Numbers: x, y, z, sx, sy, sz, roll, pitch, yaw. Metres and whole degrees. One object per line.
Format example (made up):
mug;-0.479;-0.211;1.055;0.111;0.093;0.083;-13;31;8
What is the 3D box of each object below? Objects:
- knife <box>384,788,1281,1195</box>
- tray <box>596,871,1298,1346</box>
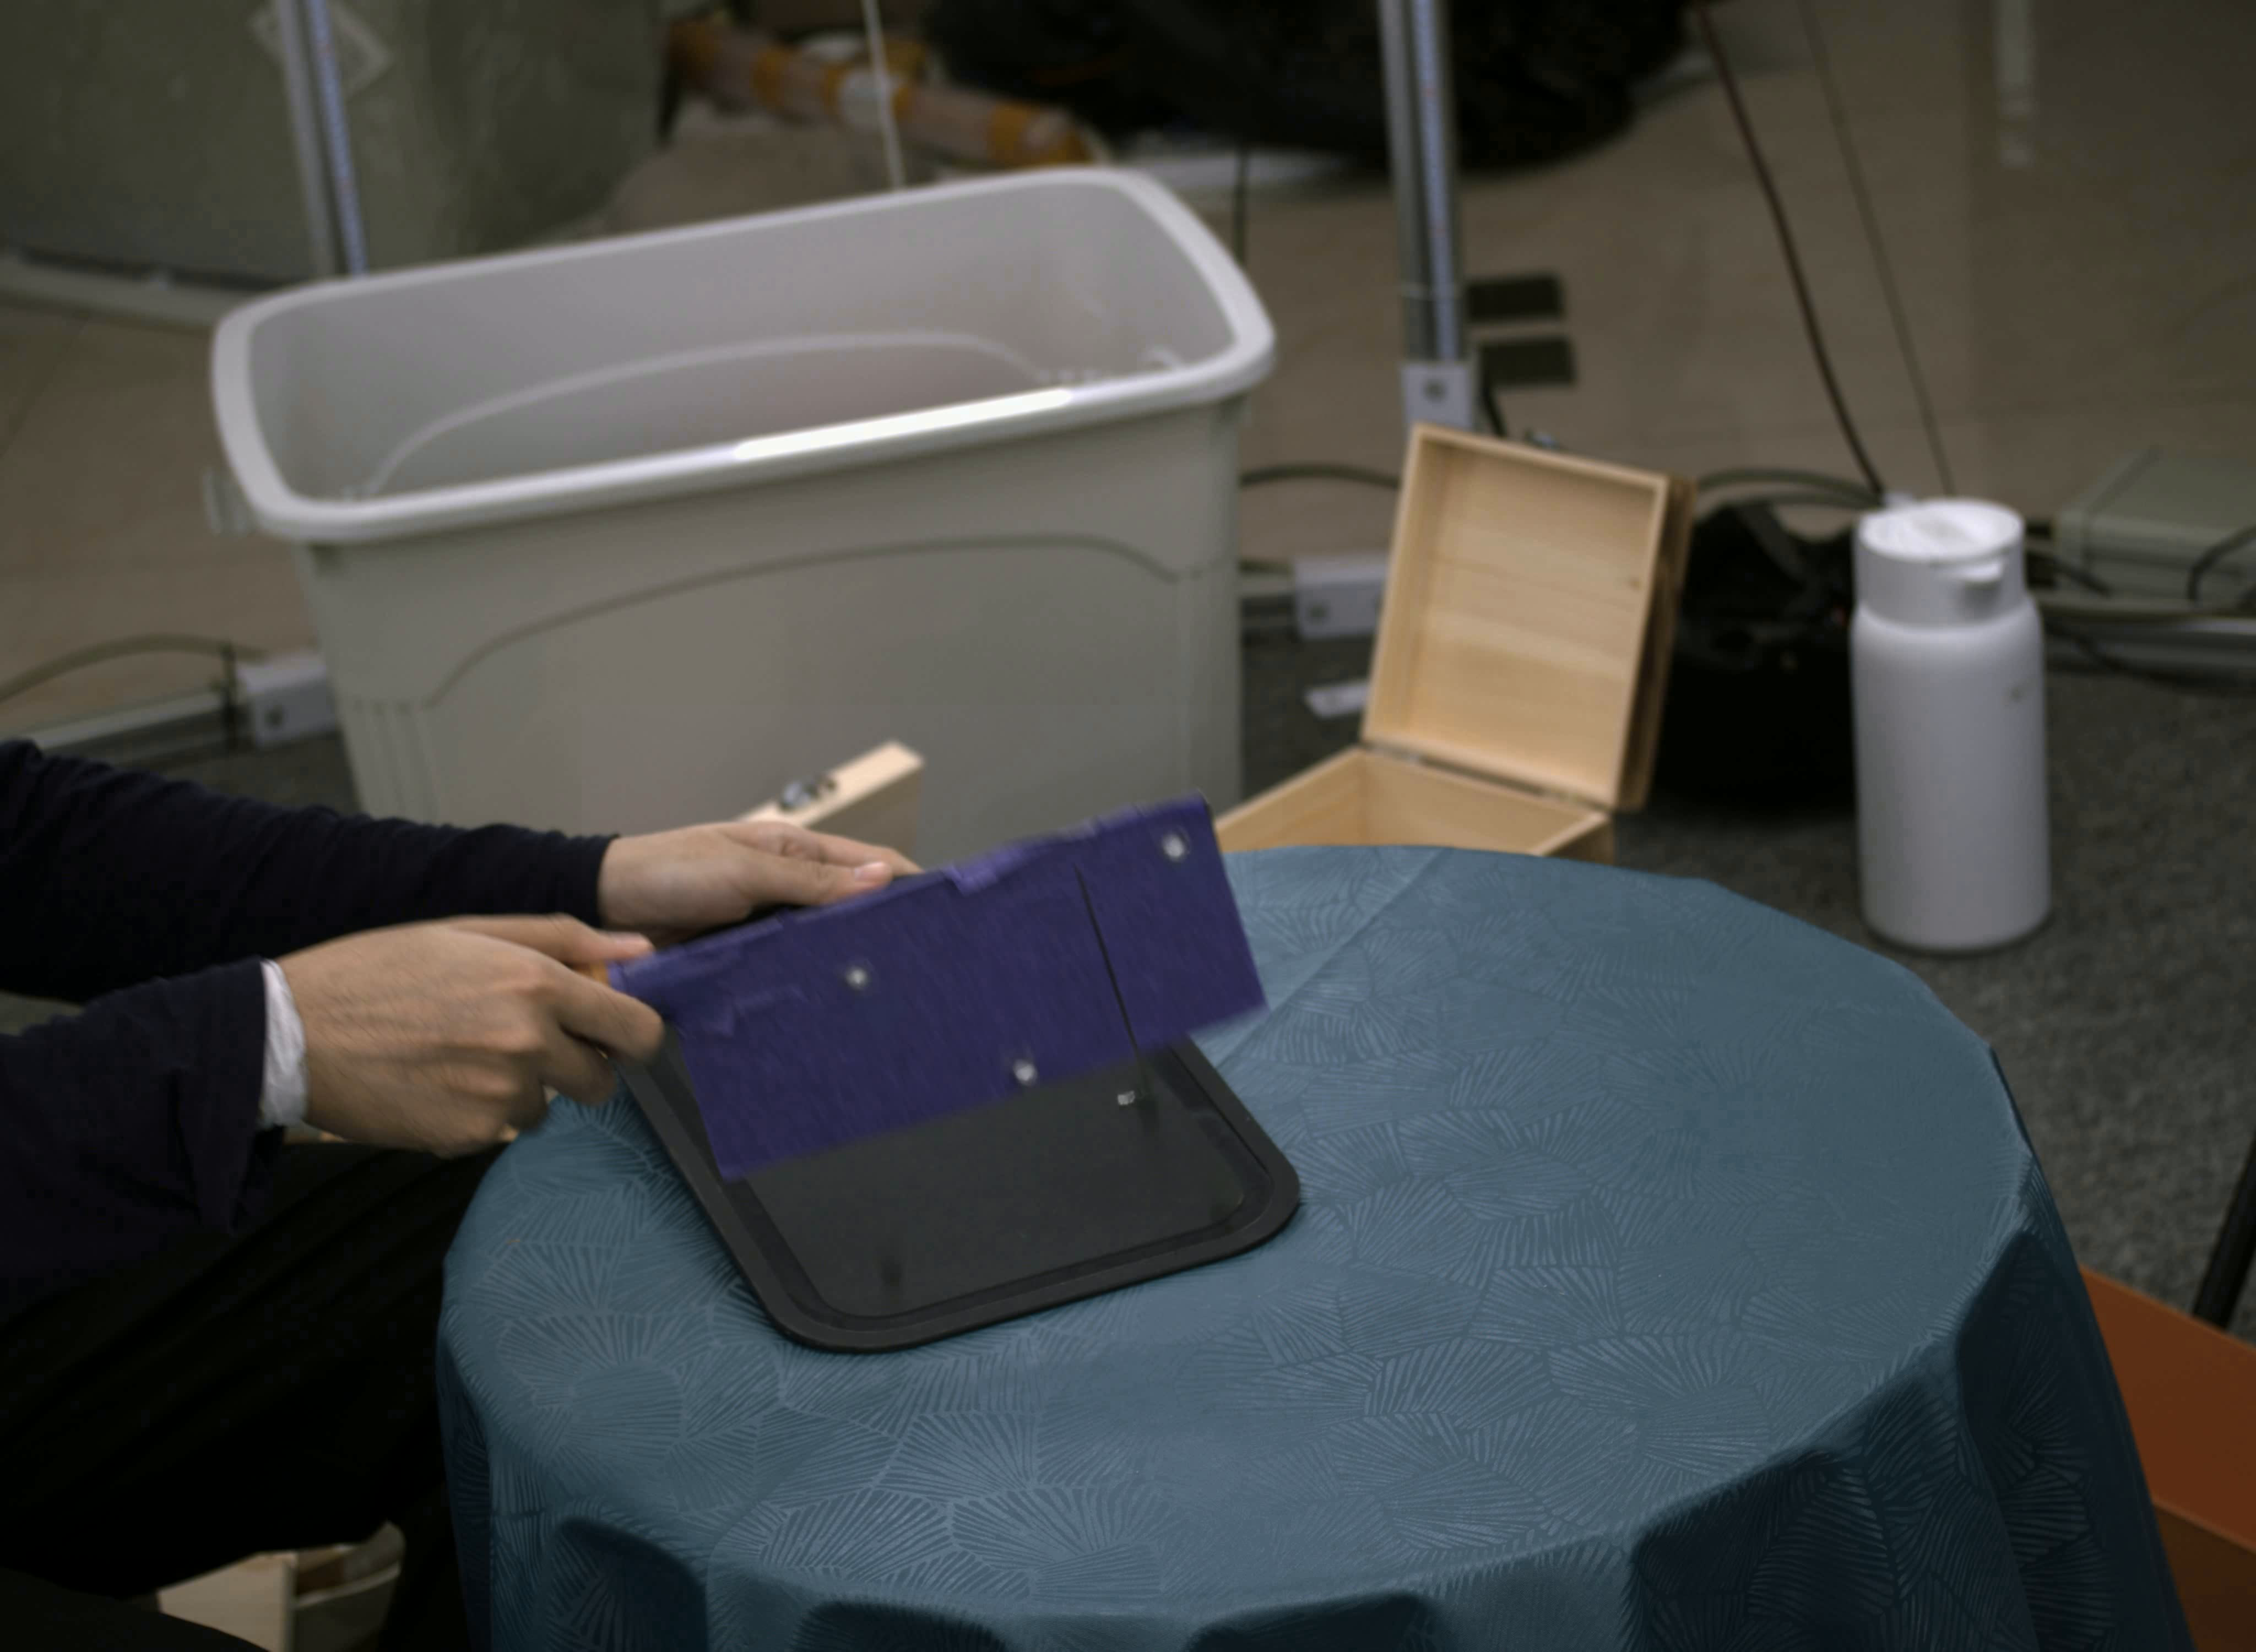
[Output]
knife;-0.102;0.078;2.019;0.315;0.105;0.032;-16;17;-1
tray;-0.079;0.101;2.208;0.210;0.010;0.320;-15;32;-16
